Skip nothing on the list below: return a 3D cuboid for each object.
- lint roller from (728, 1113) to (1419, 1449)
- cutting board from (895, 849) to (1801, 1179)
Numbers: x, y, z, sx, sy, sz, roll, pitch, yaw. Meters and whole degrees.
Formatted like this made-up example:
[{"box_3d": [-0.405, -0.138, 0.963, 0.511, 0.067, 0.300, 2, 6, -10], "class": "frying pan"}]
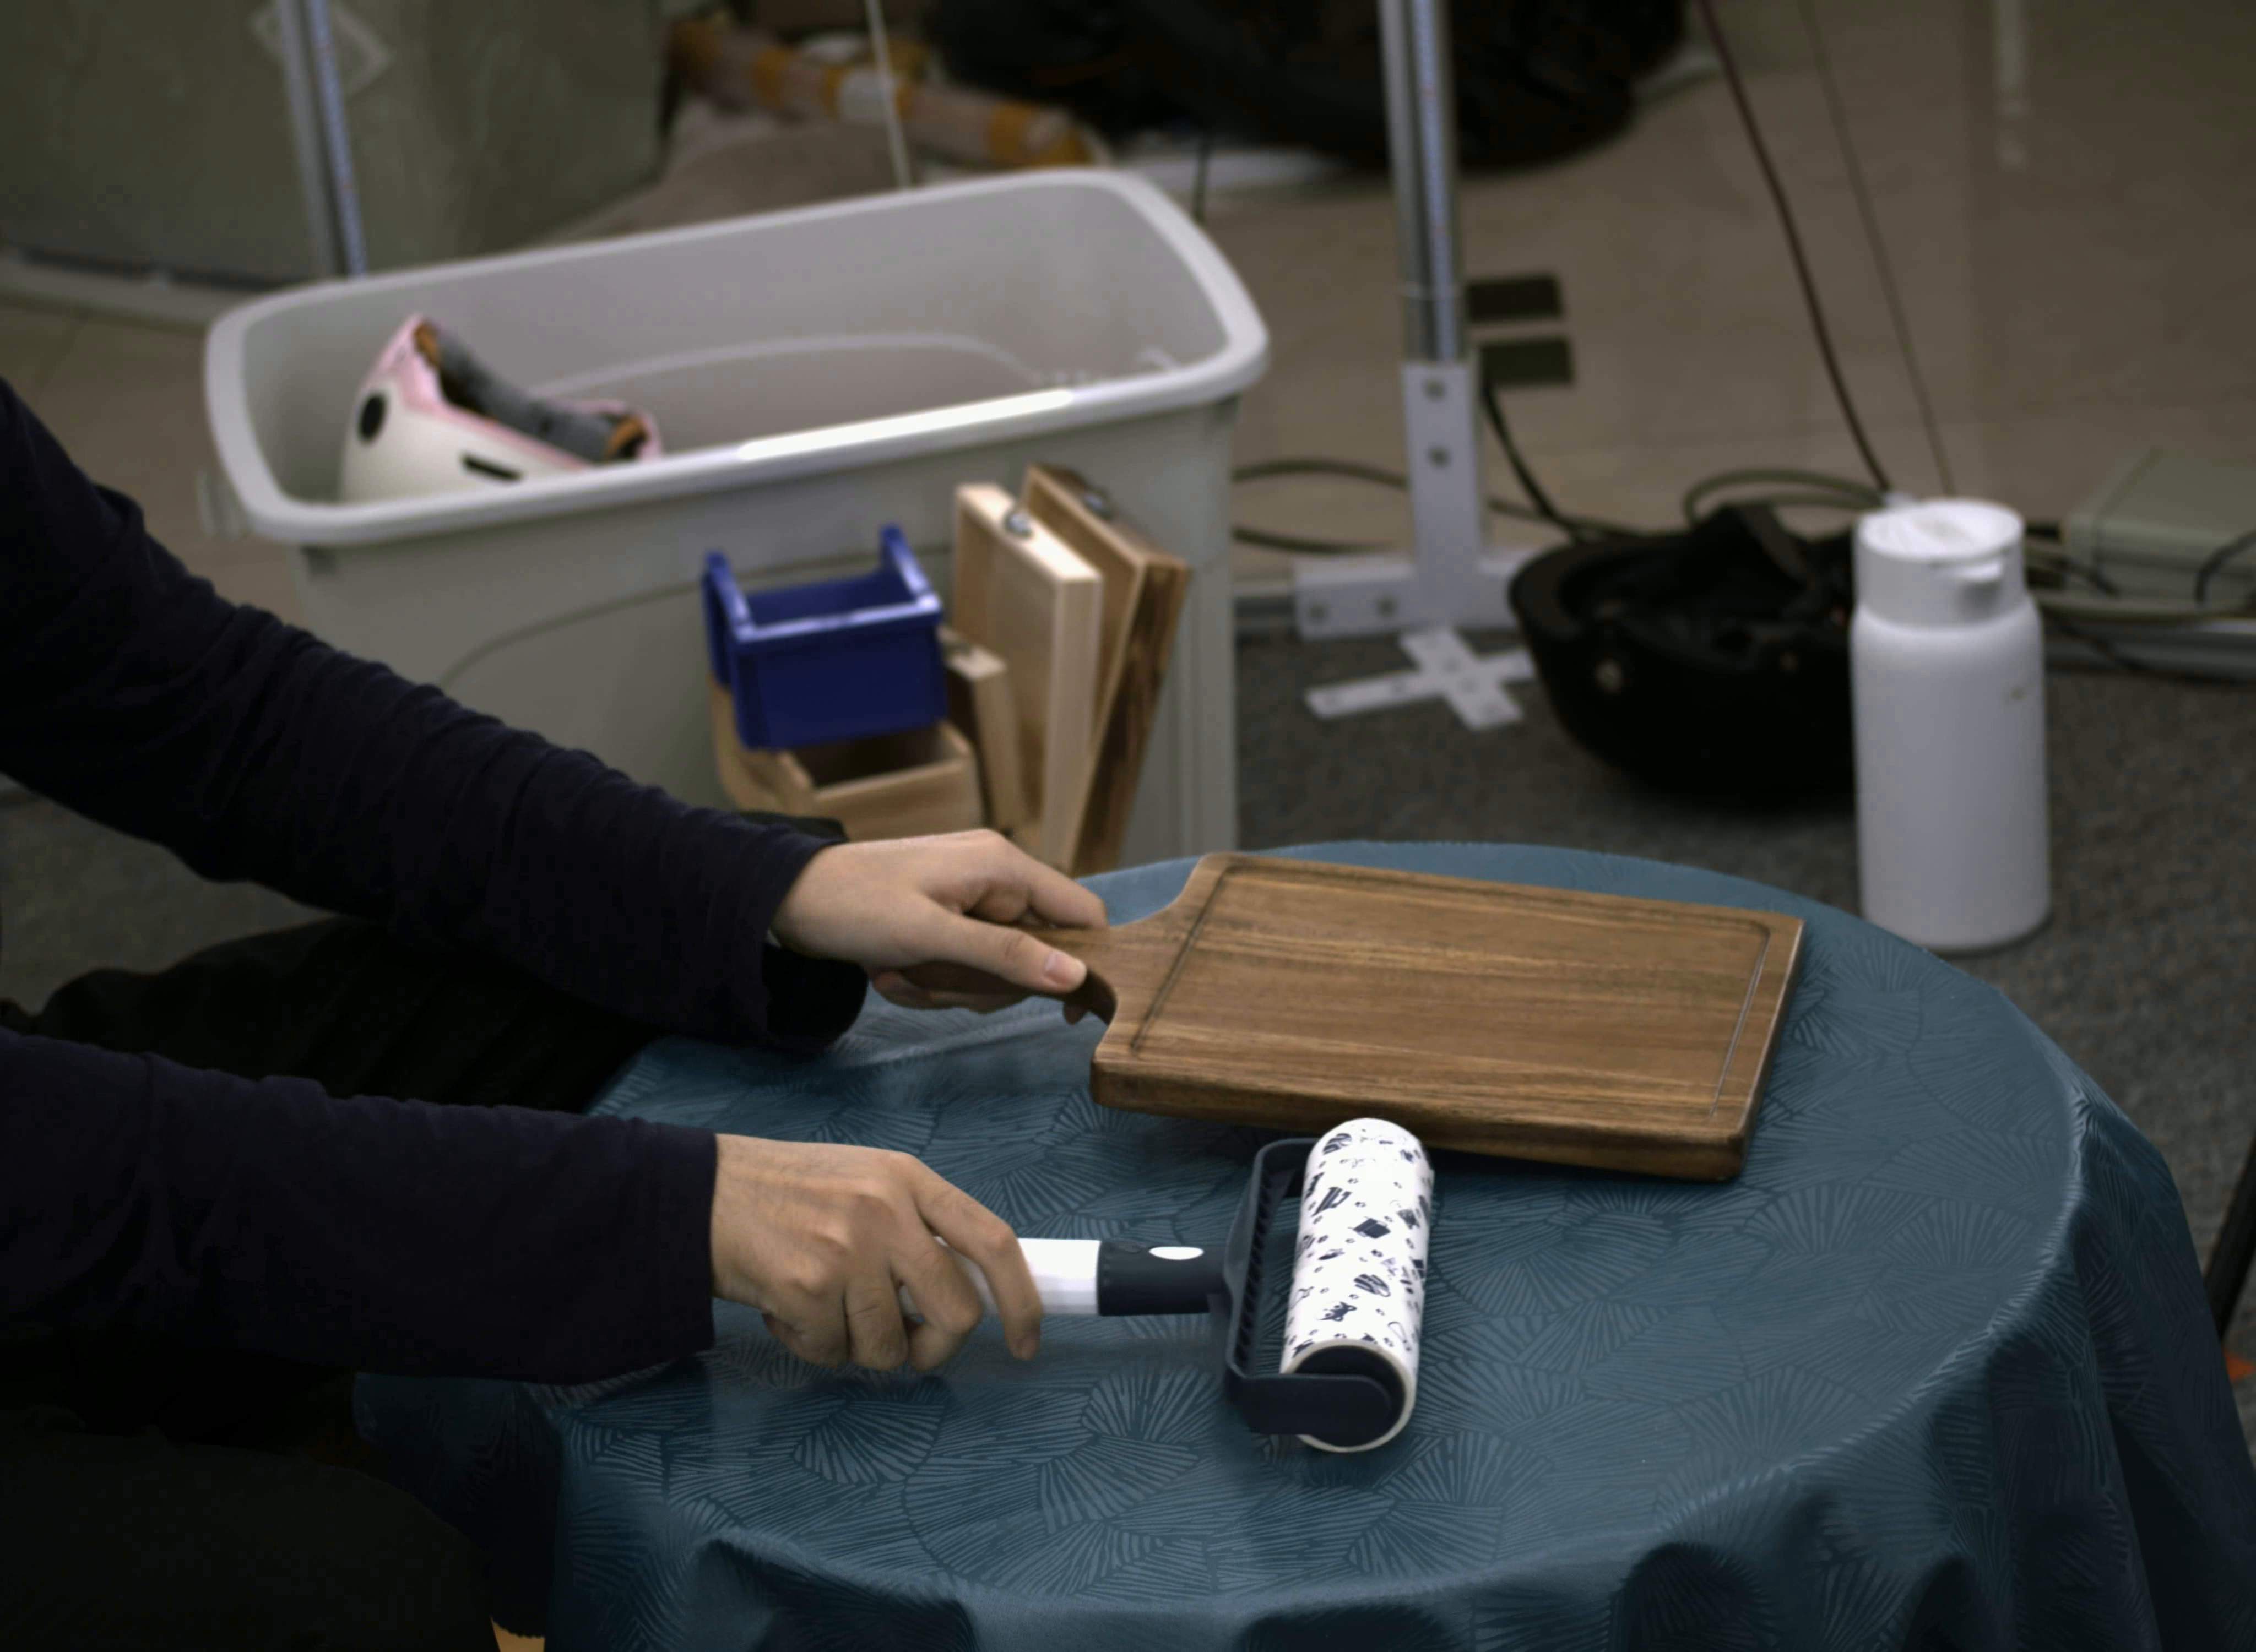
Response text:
[{"box_3d": [-0.021, 0.162, 2.032, 0.246, 0.051, 0.173, 0, 26, 5], "class": "lint roller"}, {"box_3d": [0.080, 0.065, 2.219, 0.351, 0.023, 0.198, 6, 27, 12], "class": "cutting board"}]
